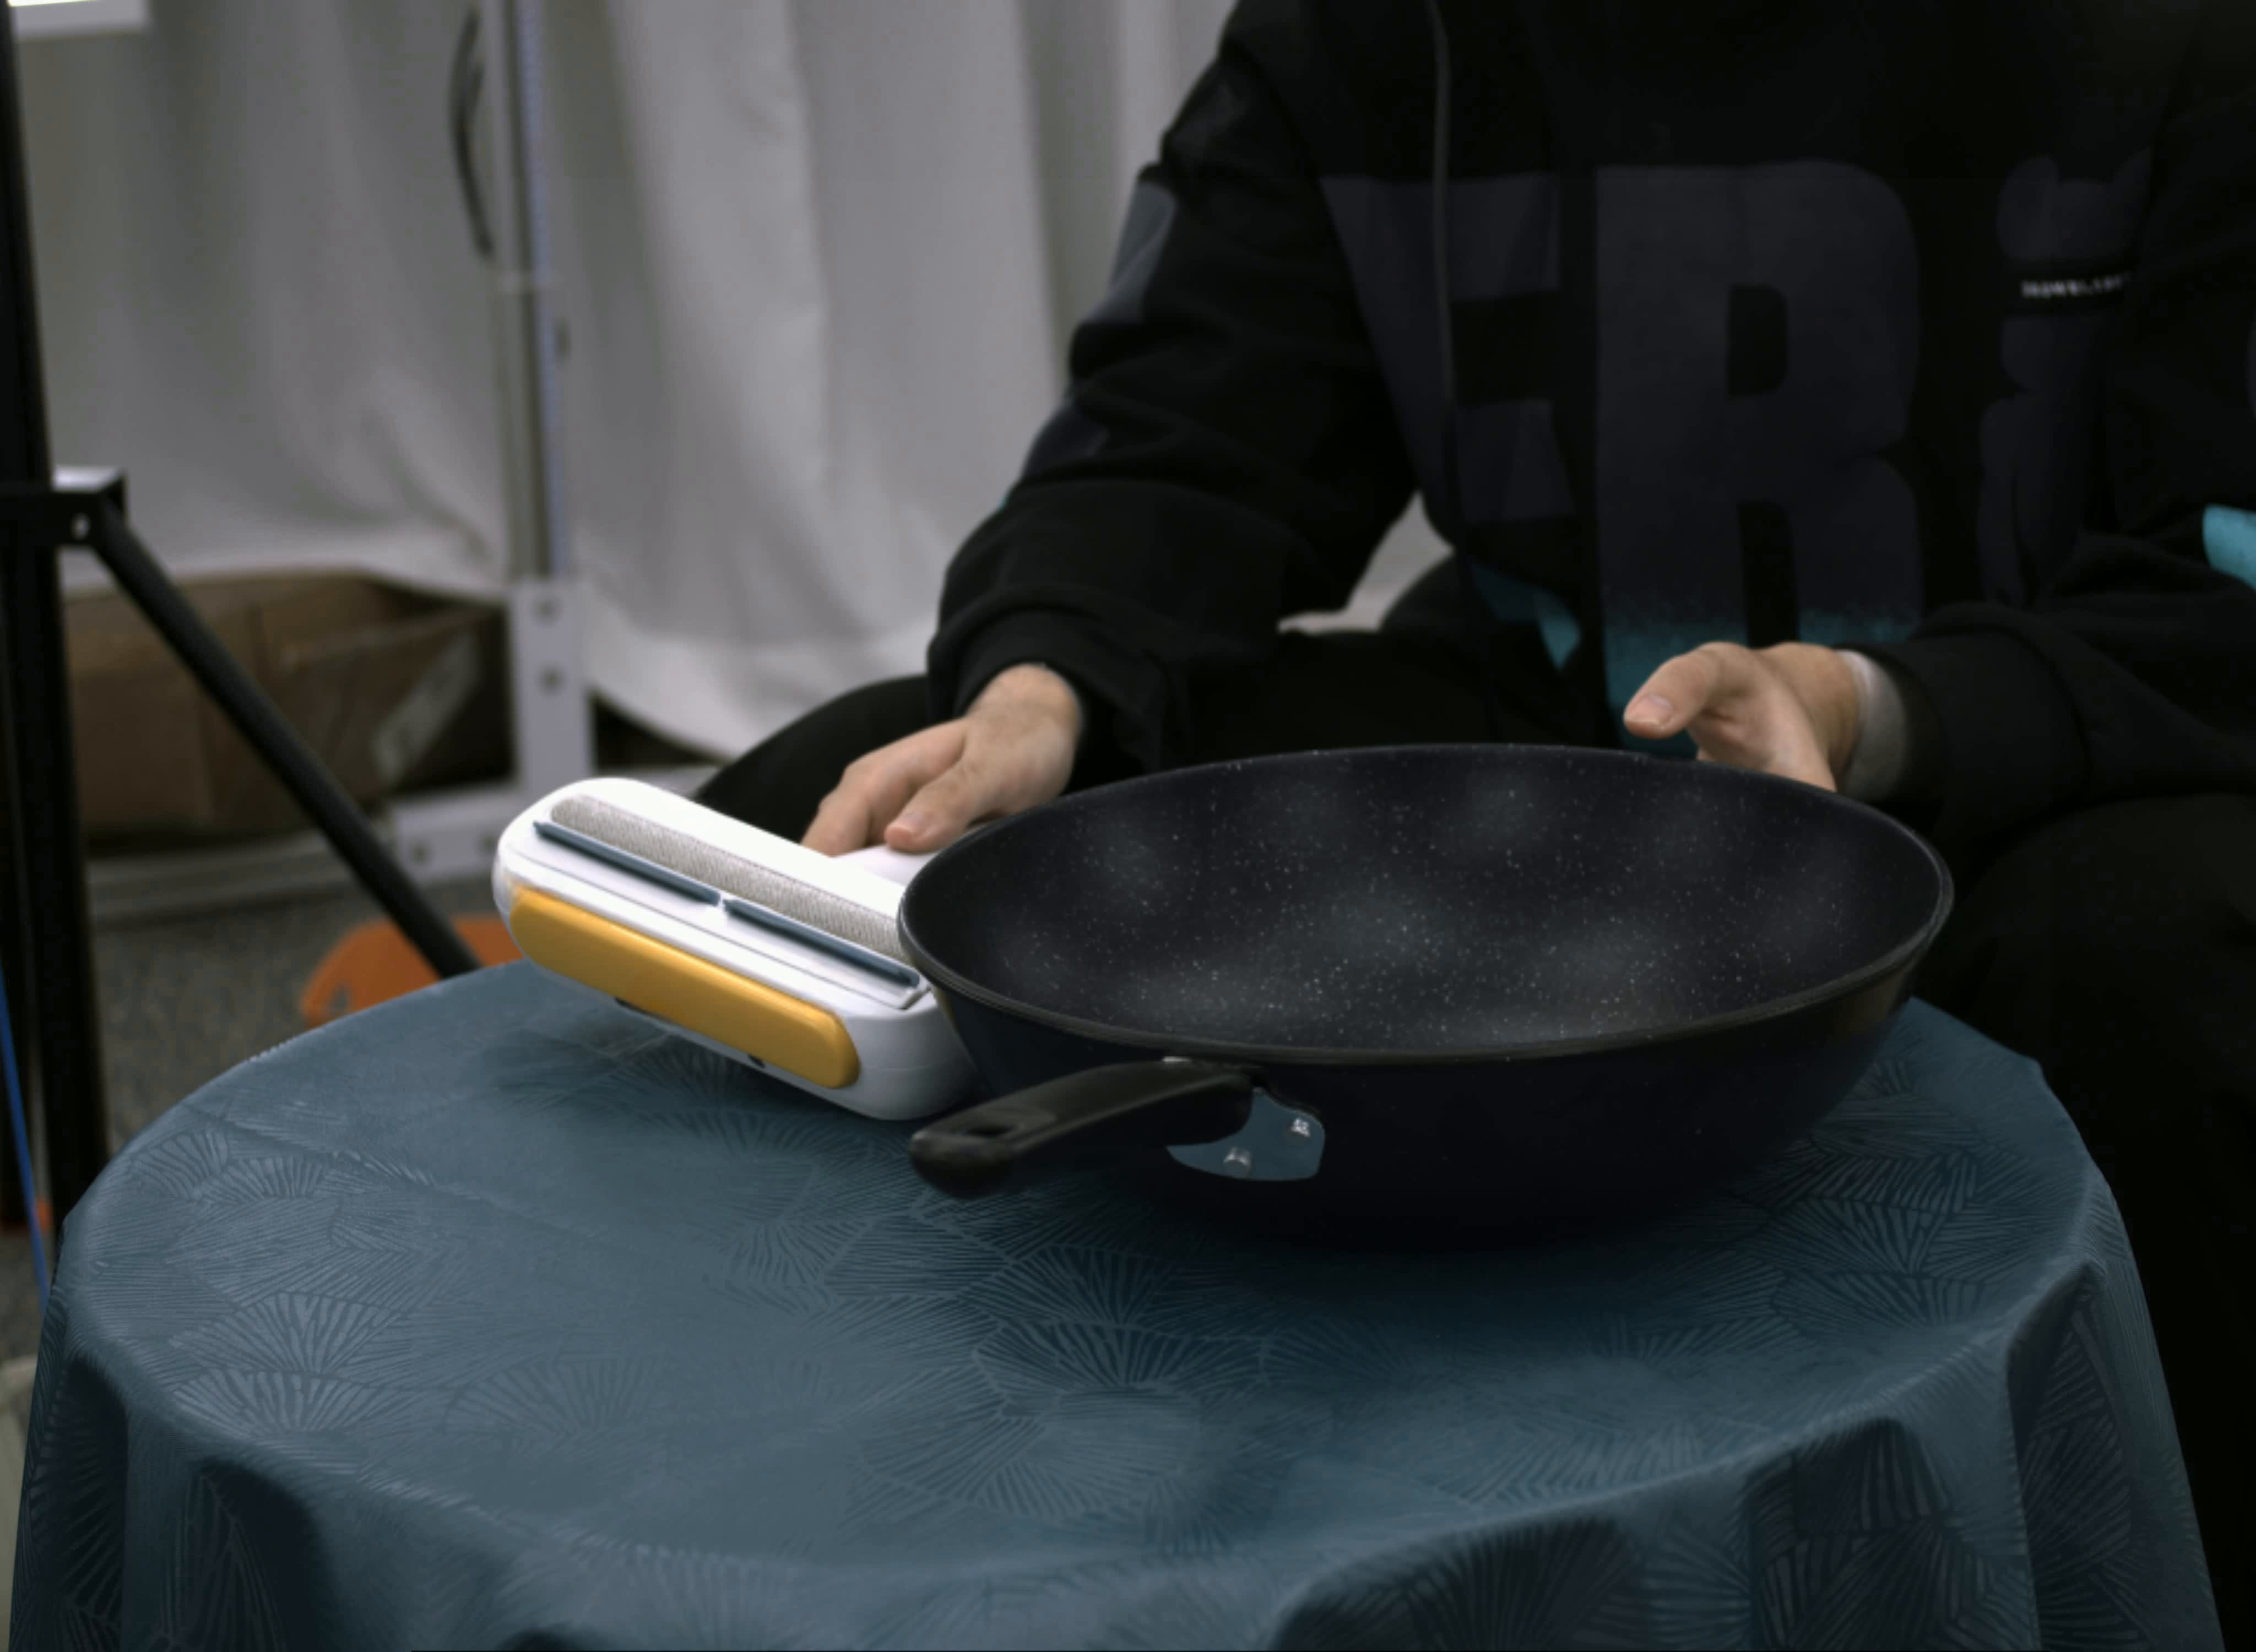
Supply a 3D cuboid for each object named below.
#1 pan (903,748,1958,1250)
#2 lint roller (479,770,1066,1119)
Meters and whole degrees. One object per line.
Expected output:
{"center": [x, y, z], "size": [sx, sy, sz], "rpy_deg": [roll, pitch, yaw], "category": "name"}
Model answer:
{"center": [0.056, 0.068, 1.494], "size": [0.315, 0.111, 0.470], "rpy_deg": [2, 16, 25], "category": "pan"}
{"center": [-0.084, 0.022, 1.722], "size": [0.197, 0.074, 0.189], "rpy_deg": [18, 33, 41], "category": "lint roller"}
